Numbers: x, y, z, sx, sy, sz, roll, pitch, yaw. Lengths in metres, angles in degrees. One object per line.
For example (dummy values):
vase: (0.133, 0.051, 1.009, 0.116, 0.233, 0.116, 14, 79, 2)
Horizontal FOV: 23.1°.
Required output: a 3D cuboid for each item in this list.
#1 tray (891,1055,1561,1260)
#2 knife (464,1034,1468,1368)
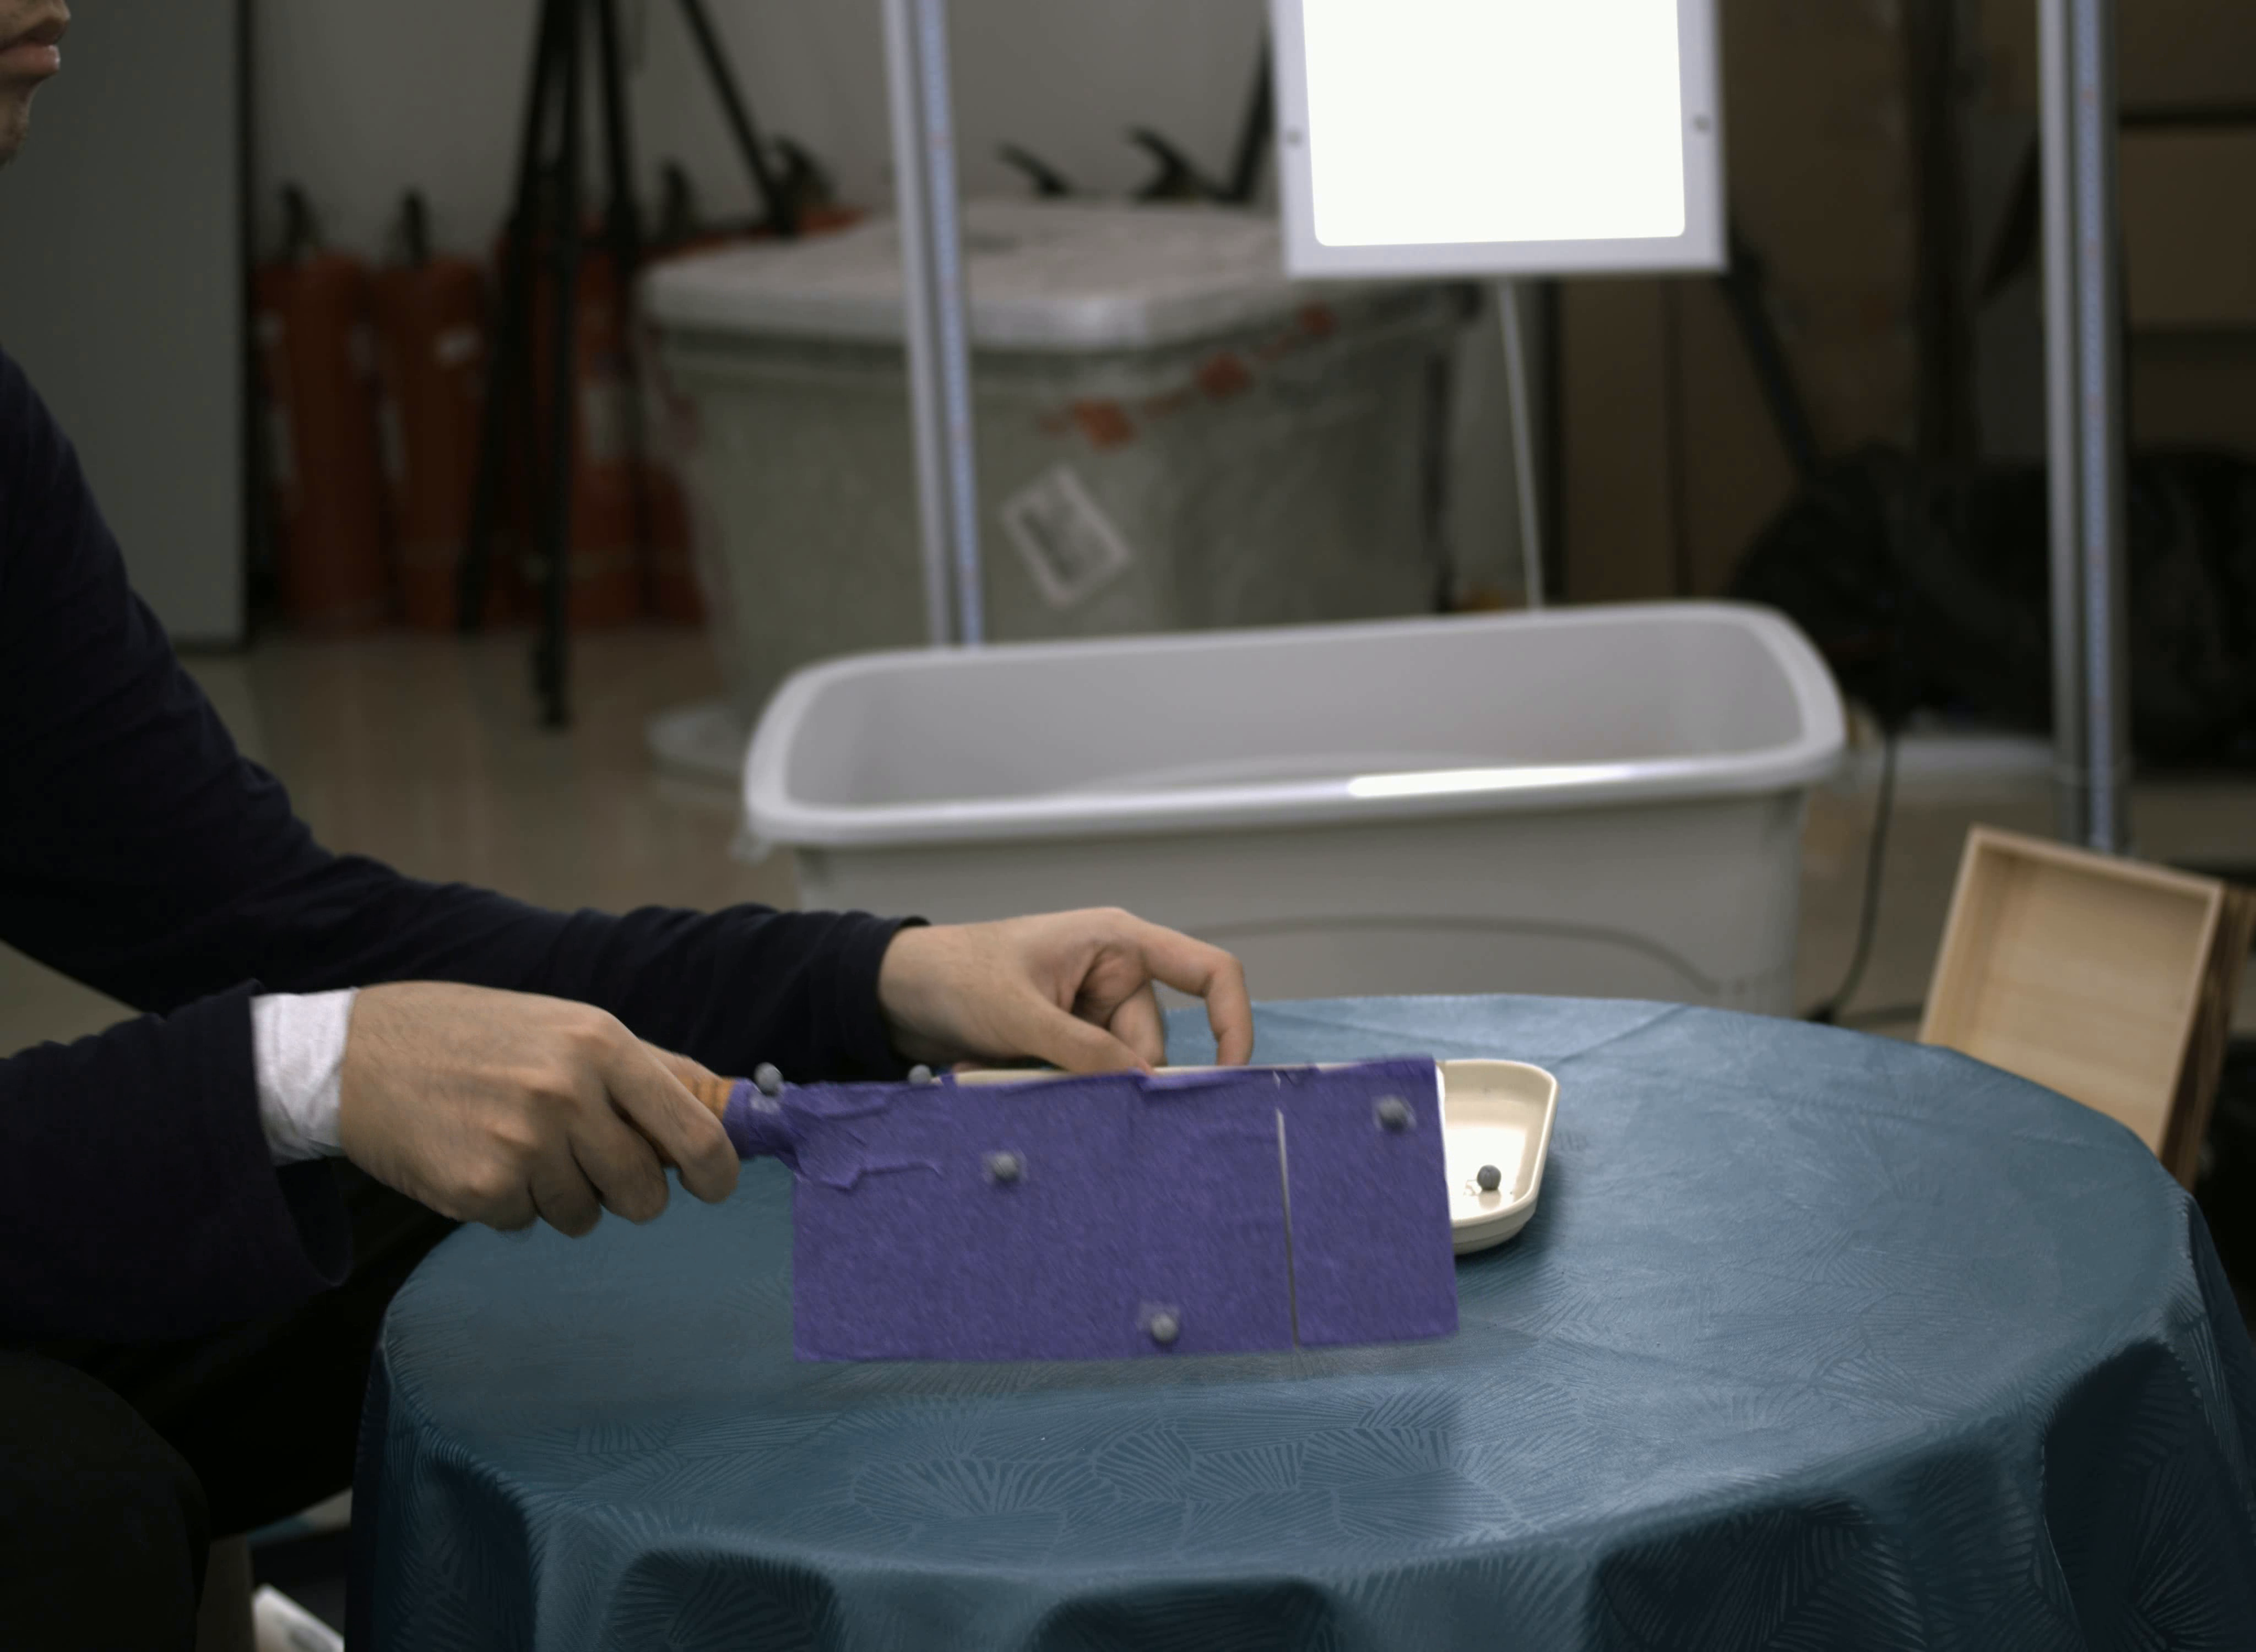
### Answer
tray: (0.027, 0.116, 1.887, 0.241, 0.017, 0.169, -2, 17, 12)
knife: (-0.052, 0.121, 1.719, 0.316, 0.104, 0.032, -4, -21, 7)
